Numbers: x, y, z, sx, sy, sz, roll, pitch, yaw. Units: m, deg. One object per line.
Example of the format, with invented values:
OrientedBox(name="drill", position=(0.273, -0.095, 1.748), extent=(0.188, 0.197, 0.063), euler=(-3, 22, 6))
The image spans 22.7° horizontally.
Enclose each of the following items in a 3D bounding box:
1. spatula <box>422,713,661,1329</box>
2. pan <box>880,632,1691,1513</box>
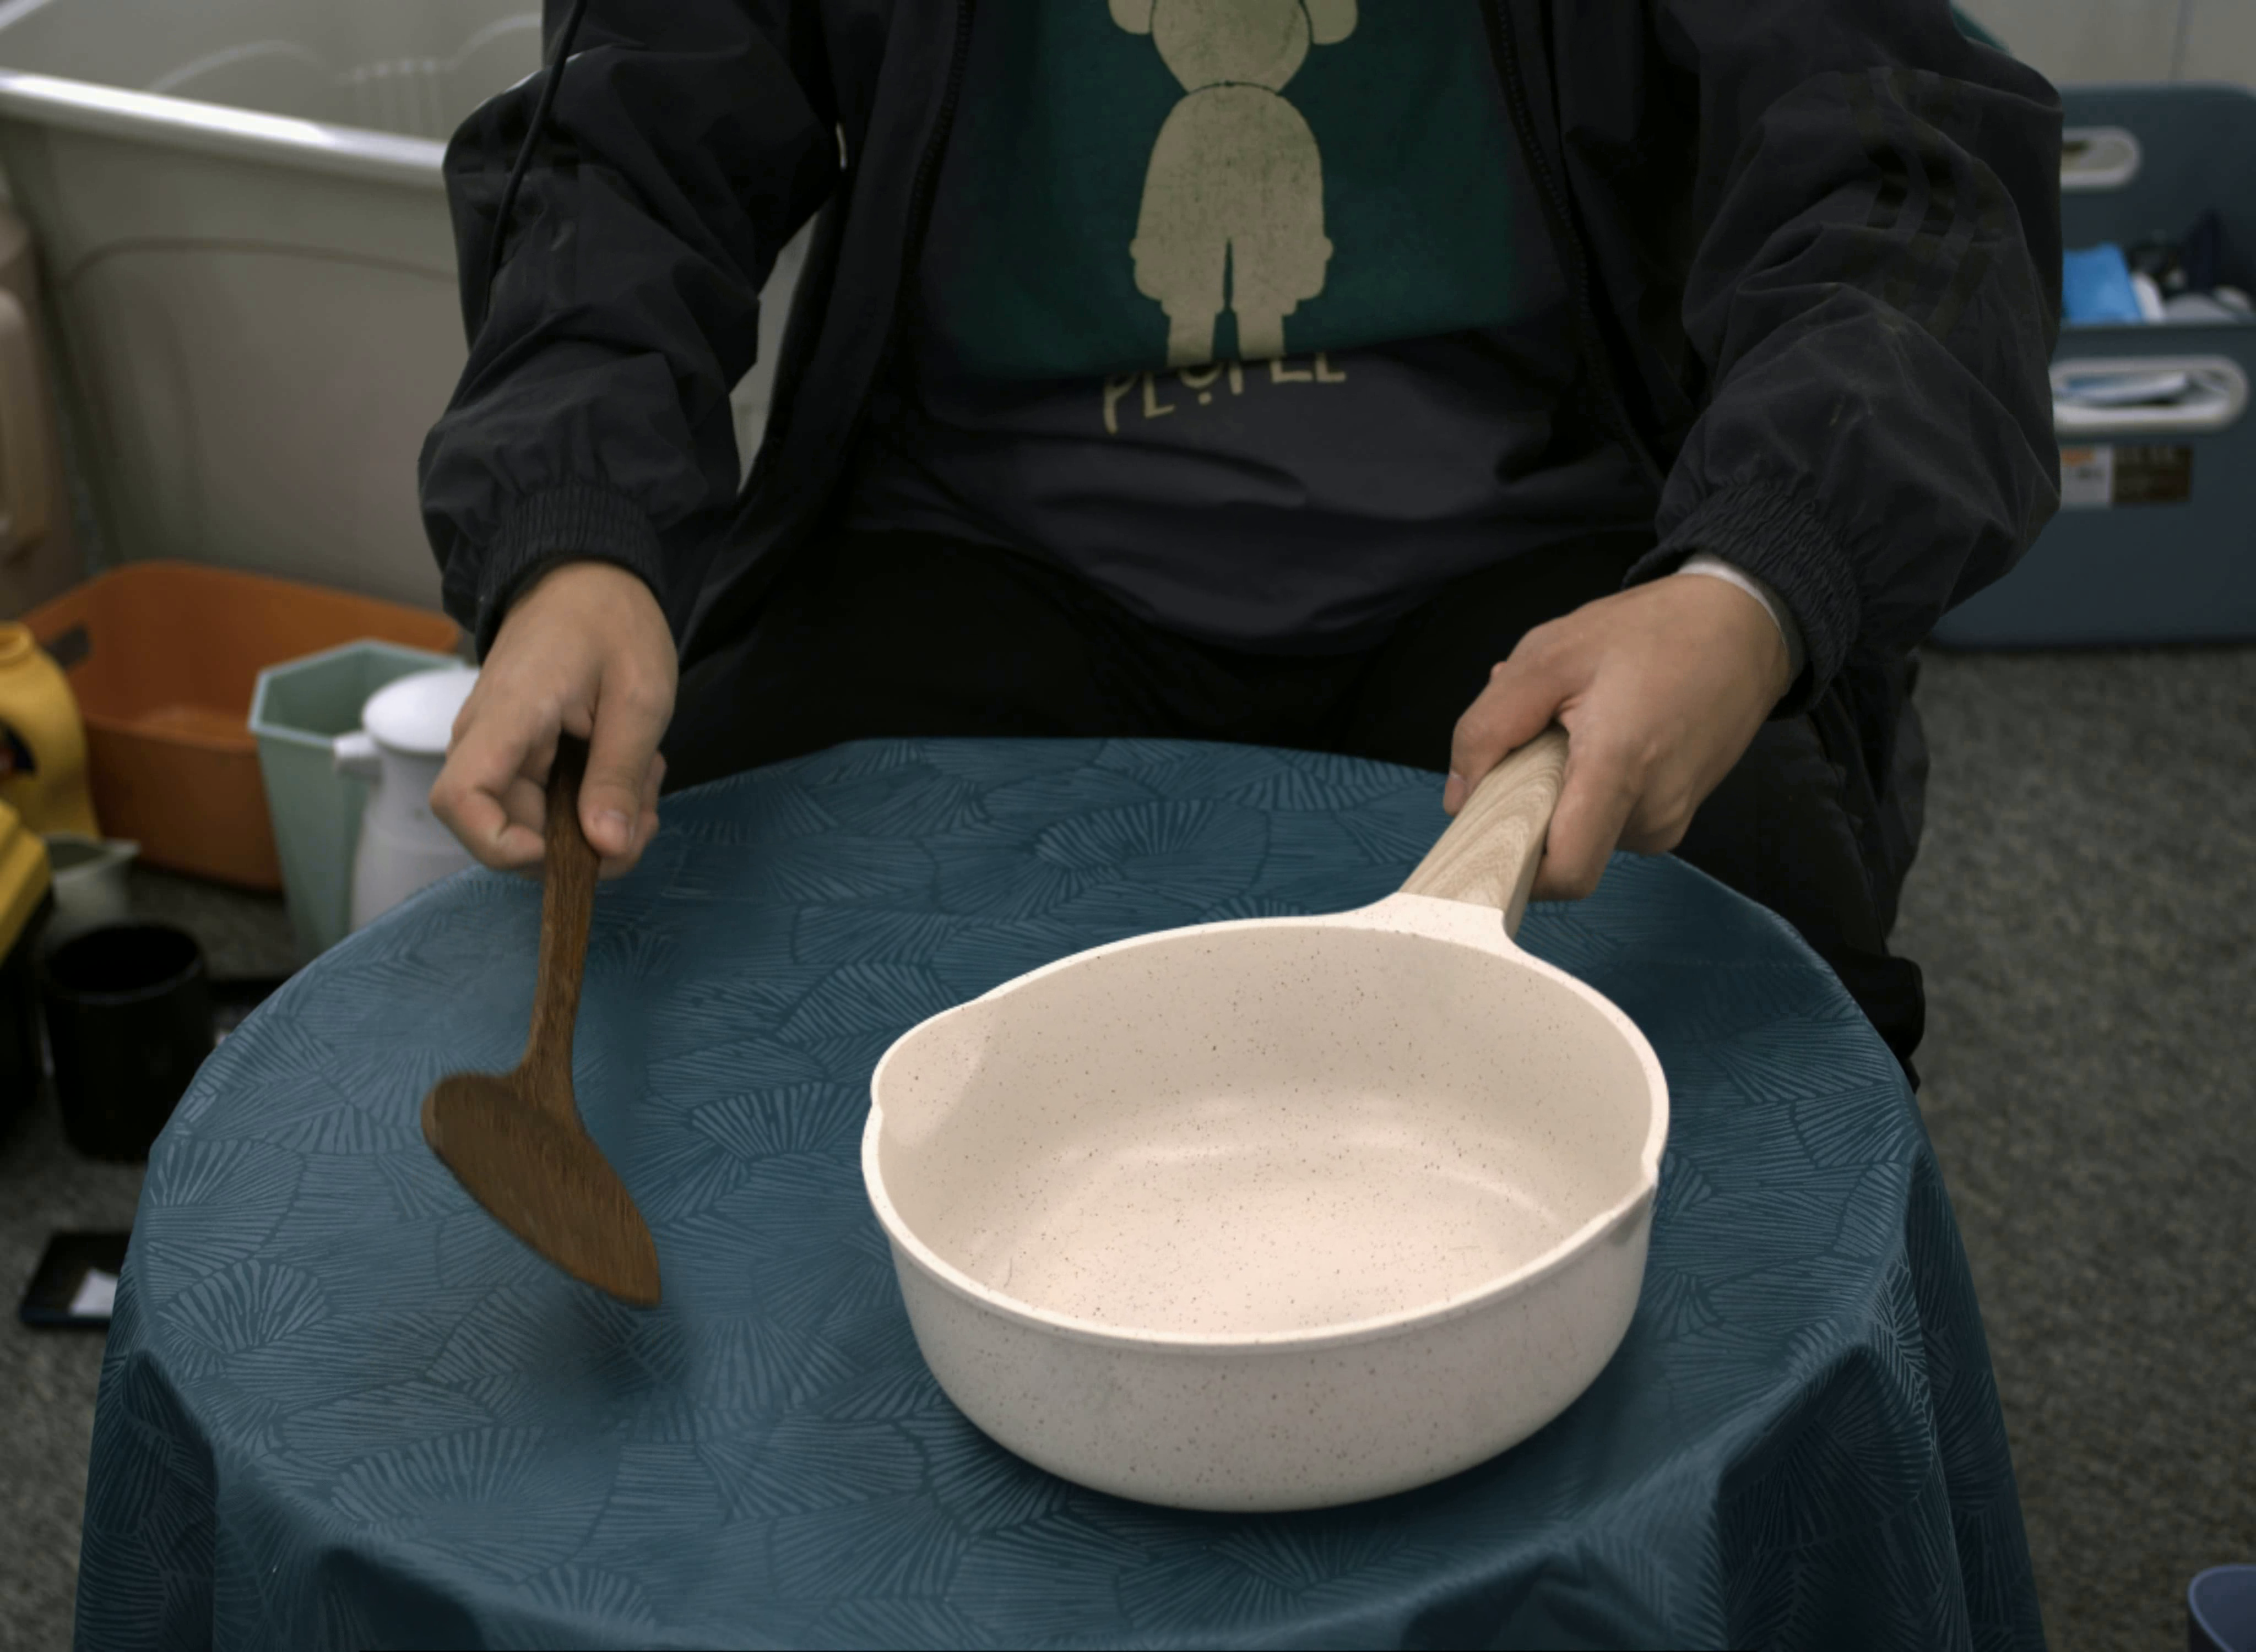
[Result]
OrientedBox(name="spatula", position=(-0.192, 0.051, 1.906), extent=(0.095, 0.015, 0.391), euler=(38, 19, -19))
OrientedBox(name="pan", position=(0.090, 0.076, 1.820), extent=(0.261, 0.101, 0.442), euler=(8, 30, 25))
